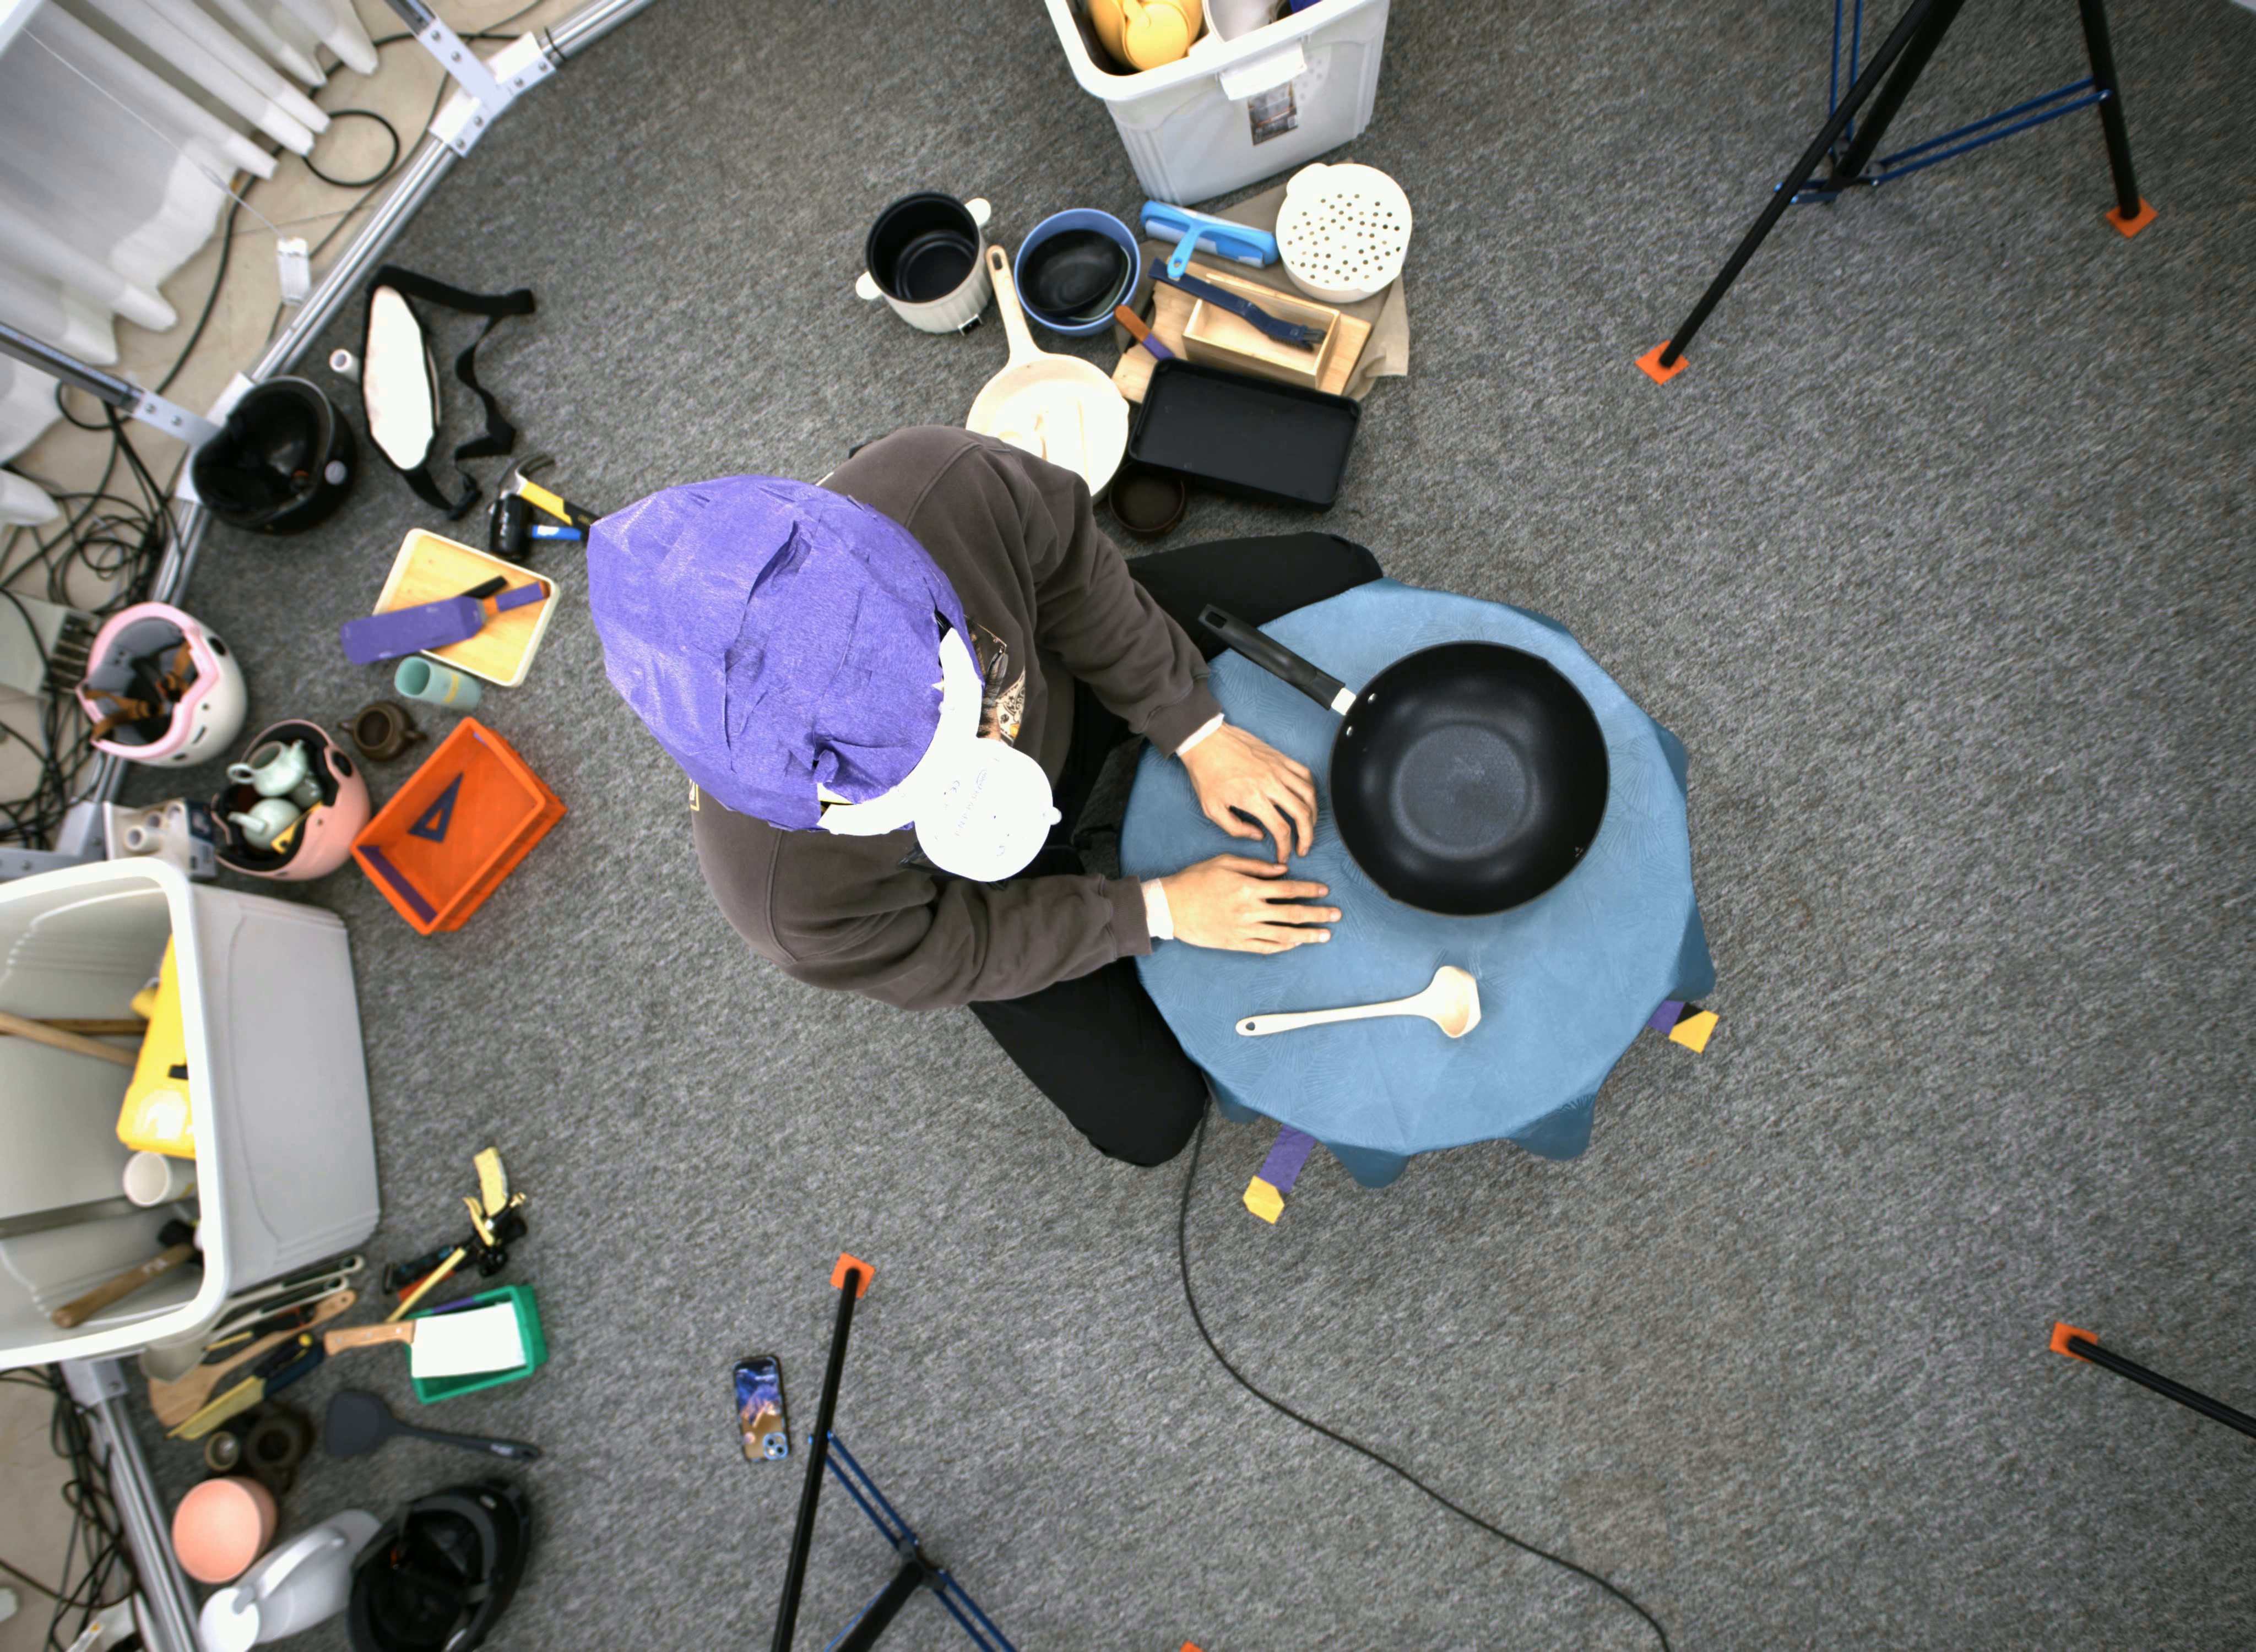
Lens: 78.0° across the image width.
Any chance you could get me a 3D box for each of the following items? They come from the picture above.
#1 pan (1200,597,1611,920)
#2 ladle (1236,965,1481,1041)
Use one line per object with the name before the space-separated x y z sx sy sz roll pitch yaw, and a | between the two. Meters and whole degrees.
pan | 0.270 -0.095 1.423 0.462 0.087 0.289 34 94 11
ladle | 0.233 0.195 1.422 0.256 0.072 0.072 -11 89 9
